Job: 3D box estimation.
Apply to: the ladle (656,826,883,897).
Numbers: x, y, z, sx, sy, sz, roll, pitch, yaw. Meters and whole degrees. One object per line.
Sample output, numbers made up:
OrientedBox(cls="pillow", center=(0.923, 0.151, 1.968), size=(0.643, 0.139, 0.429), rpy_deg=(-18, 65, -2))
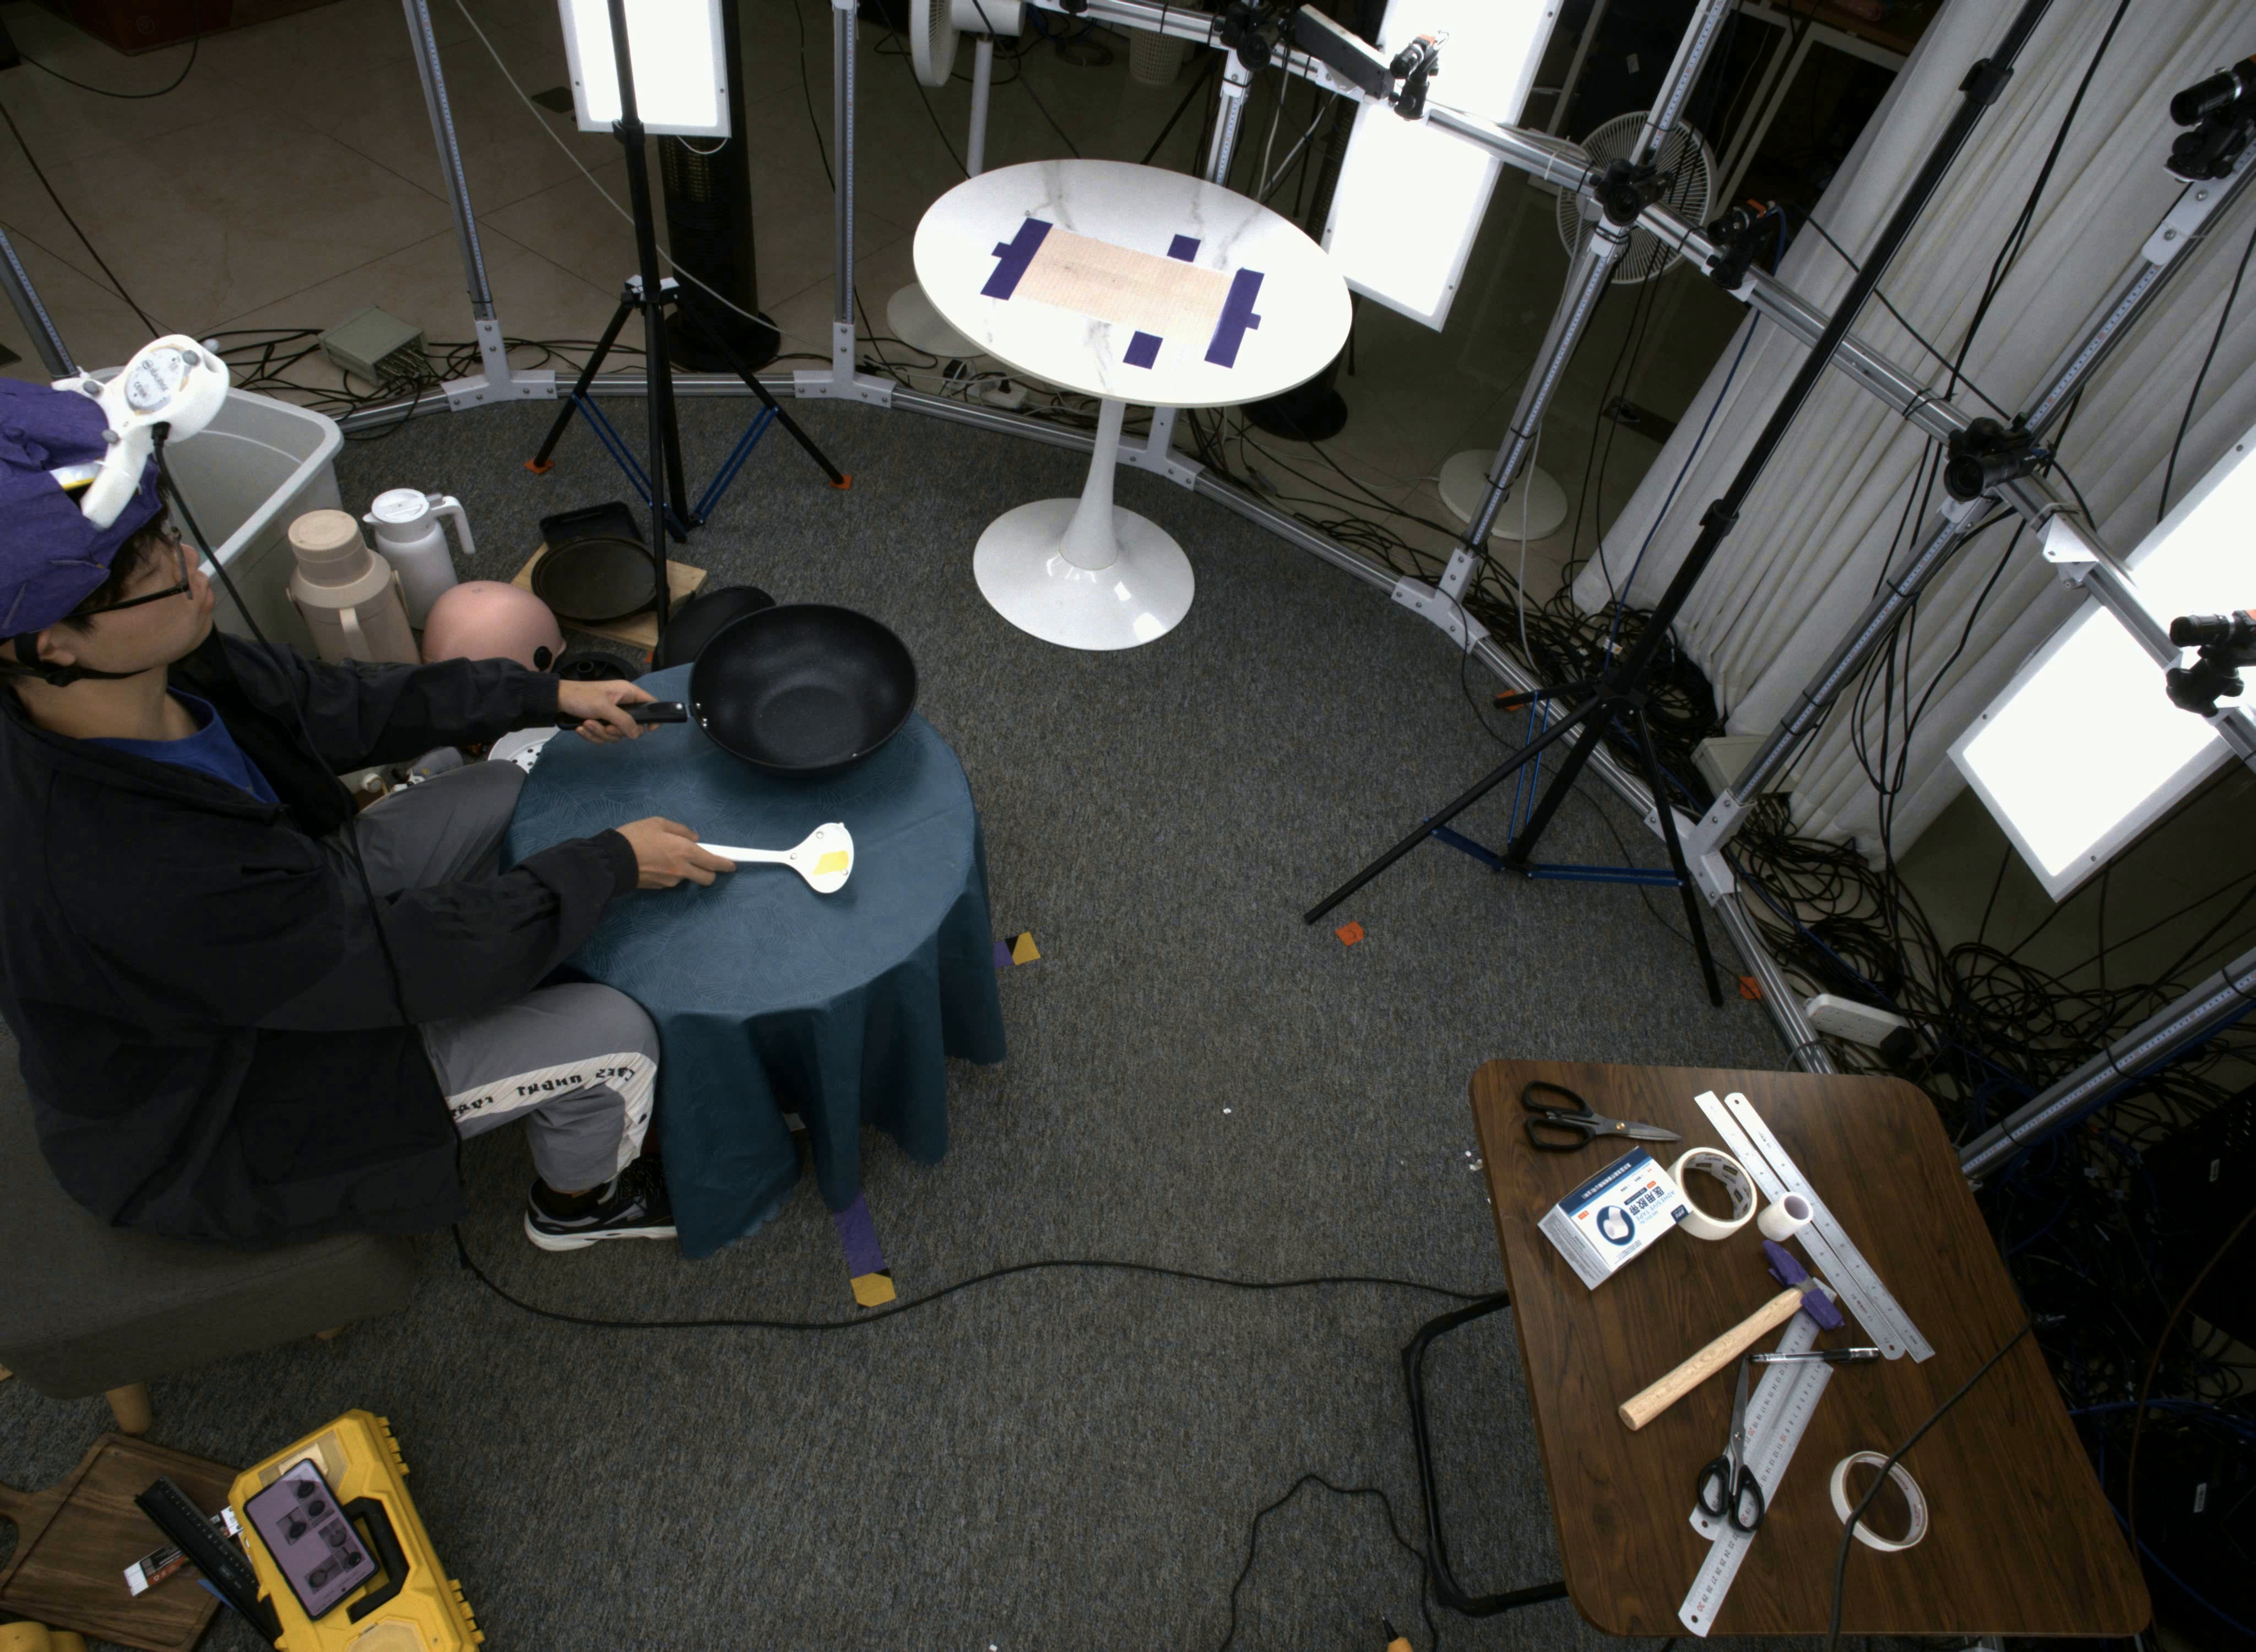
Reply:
OrientedBox(cls="ladle", center=(-0.461, 0.031, 1.663), size=(0.293, 0.069, 0.091), rpy_deg=(7, 92, -13))

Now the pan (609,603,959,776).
OrientedBox(cls="pan", center=(-0.468, -0.166, 1.779), size=(0.478, 0.114, 0.302), rpy_deg=(-13, 55, -20))
